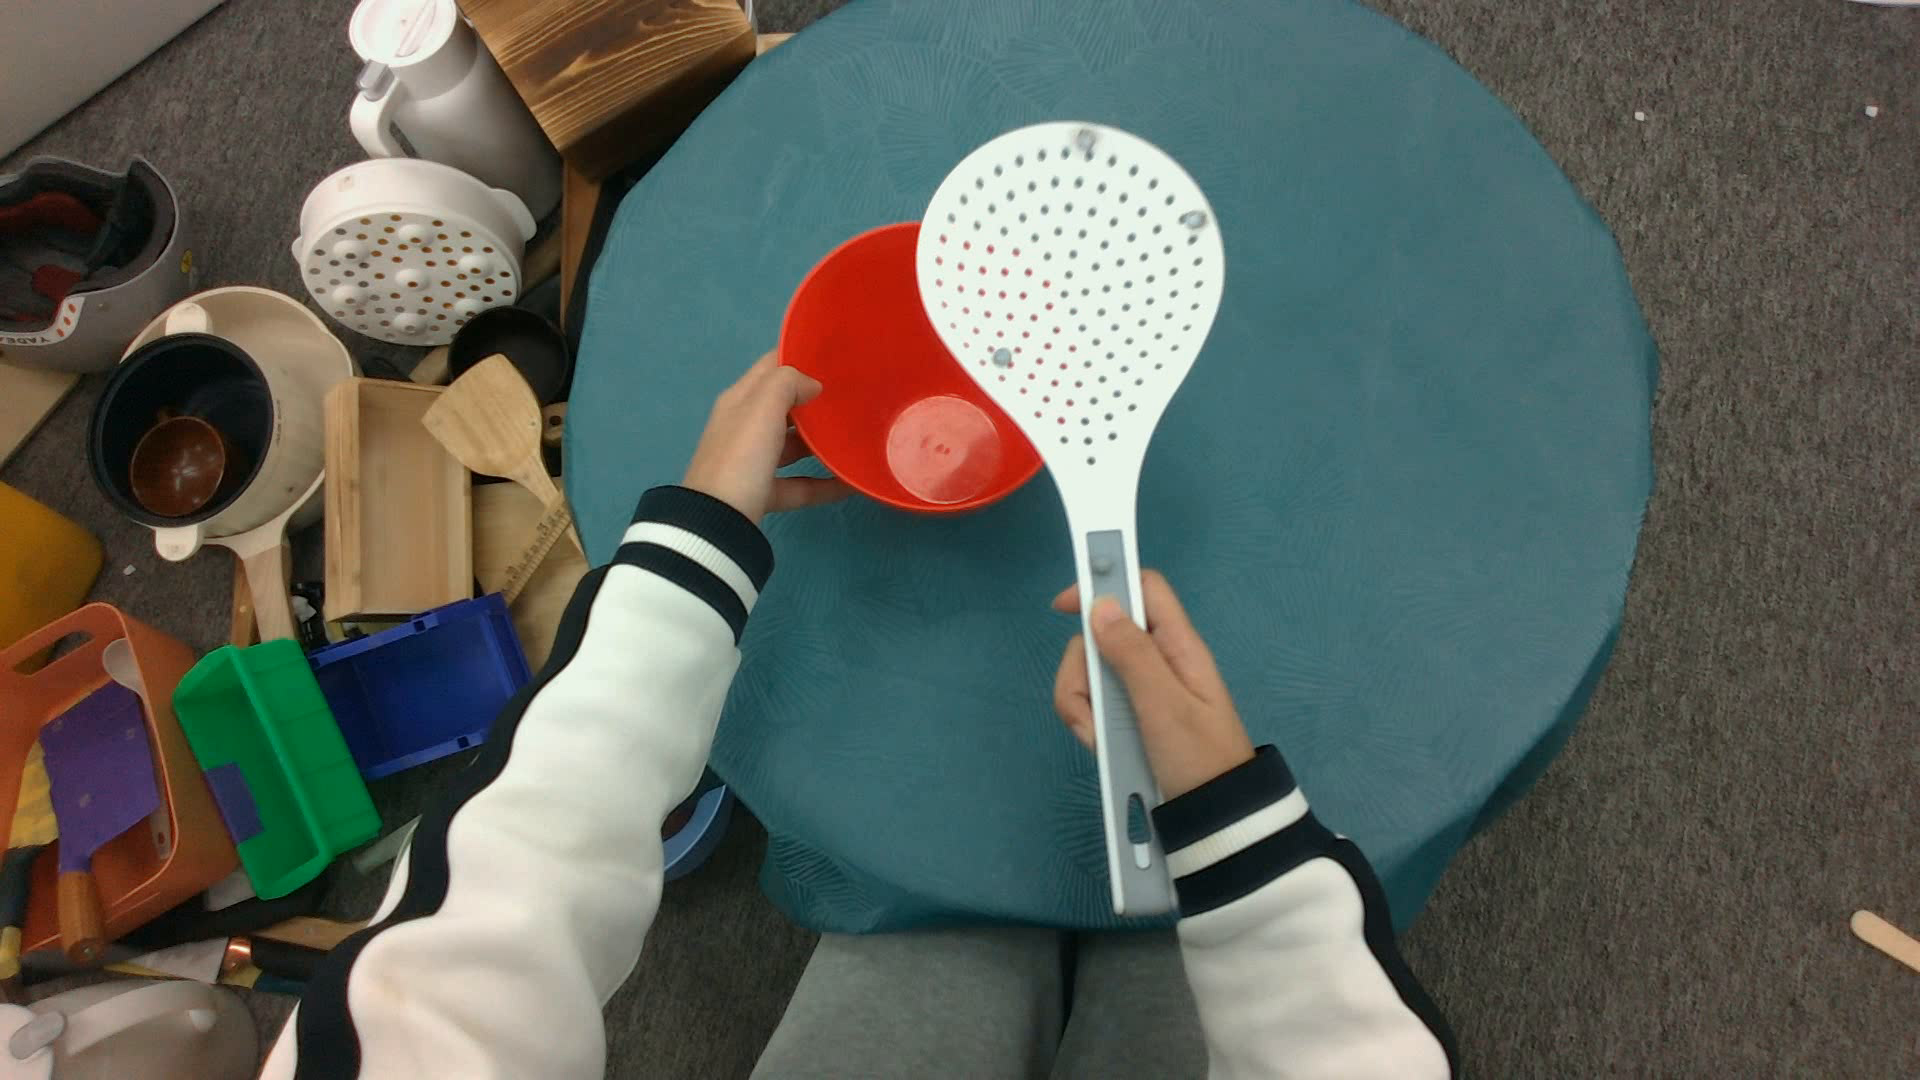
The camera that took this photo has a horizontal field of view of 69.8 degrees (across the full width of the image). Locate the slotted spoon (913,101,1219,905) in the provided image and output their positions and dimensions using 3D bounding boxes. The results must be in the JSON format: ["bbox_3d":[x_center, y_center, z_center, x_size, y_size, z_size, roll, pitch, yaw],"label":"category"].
[{"bbox_3d":[0.055,-0.024,0.592,0.136,0.045,0.350,-4,73,-3],"label":"slotted spoon"}]

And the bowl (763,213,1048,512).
[{"bbox_3d":[-0.024,-0.078,0.711,0.148,0.104,0.148,1,70,-3],"label":"bowl"}]
